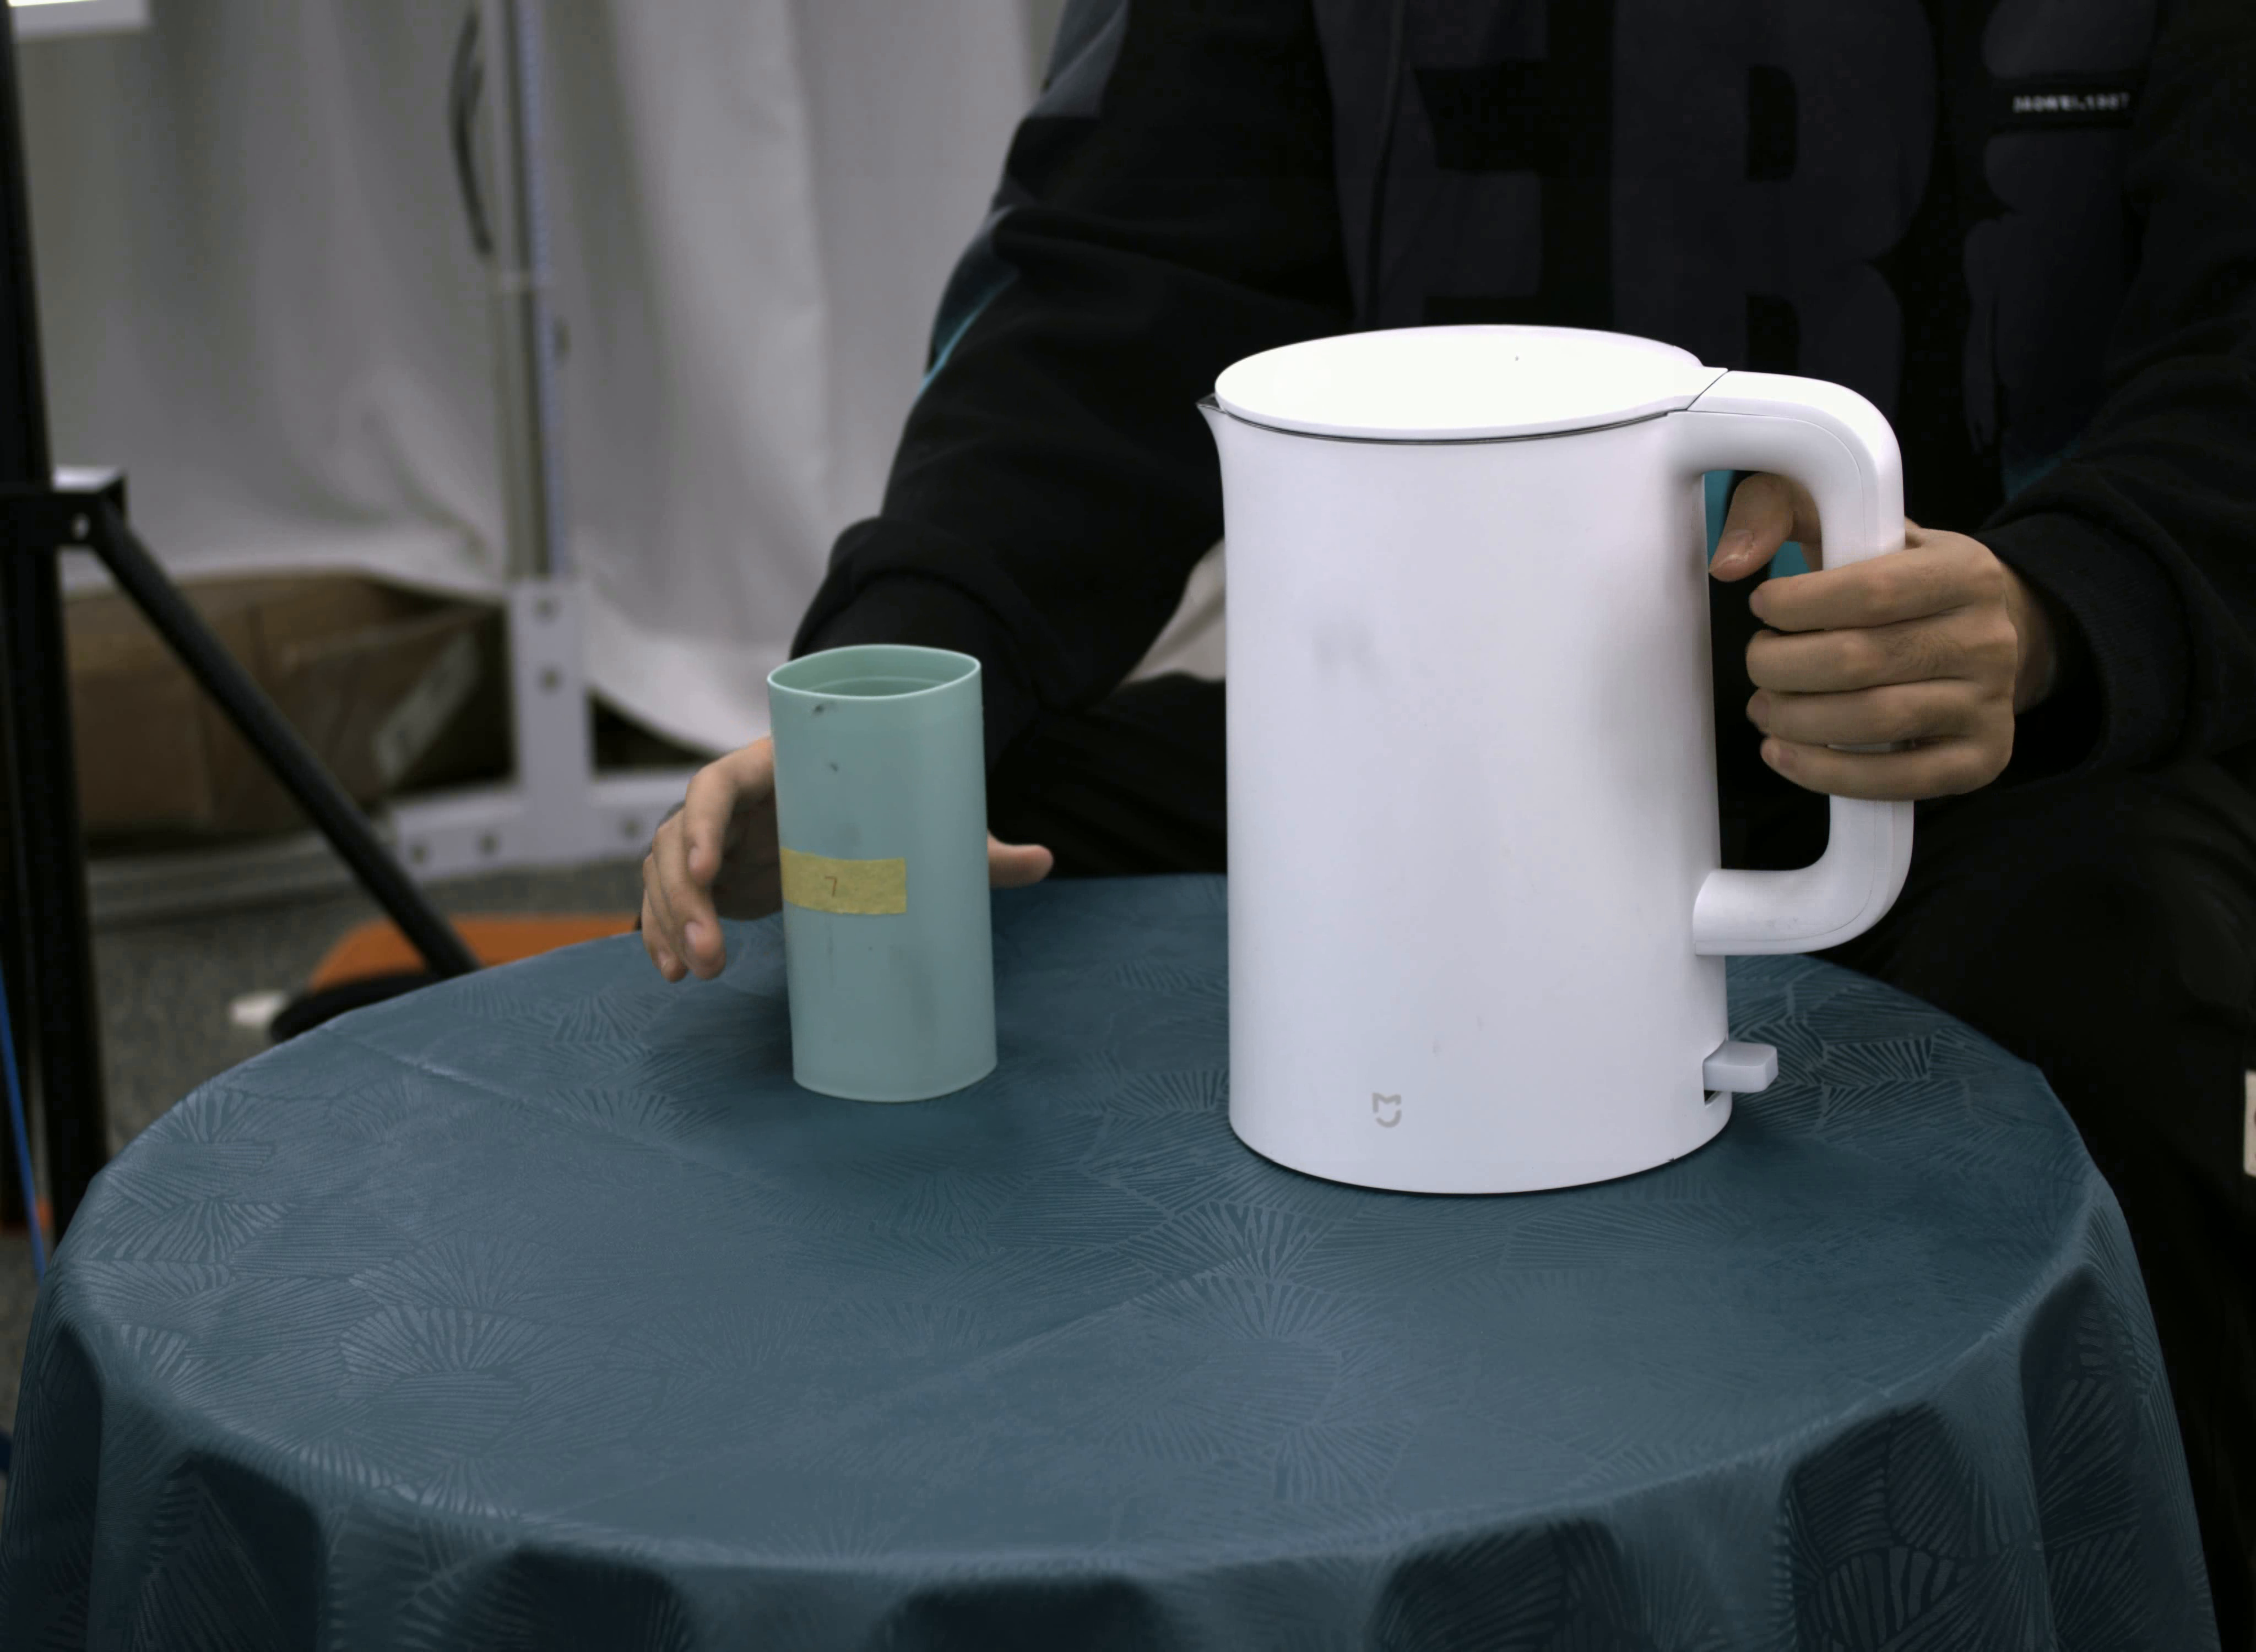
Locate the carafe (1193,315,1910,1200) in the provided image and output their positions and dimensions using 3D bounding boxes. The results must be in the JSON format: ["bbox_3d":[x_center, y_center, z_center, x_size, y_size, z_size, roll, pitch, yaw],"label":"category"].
[{"bbox_3d":[0.124,-0.021,1.566,0.216,0.240,0.150,4,18,23],"label":"carafe"}]

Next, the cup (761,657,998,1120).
[{"bbox_3d":[-0.076,0.018,1.661,0.066,0.132,0.067,-4,16,0],"label":"cup"}]
